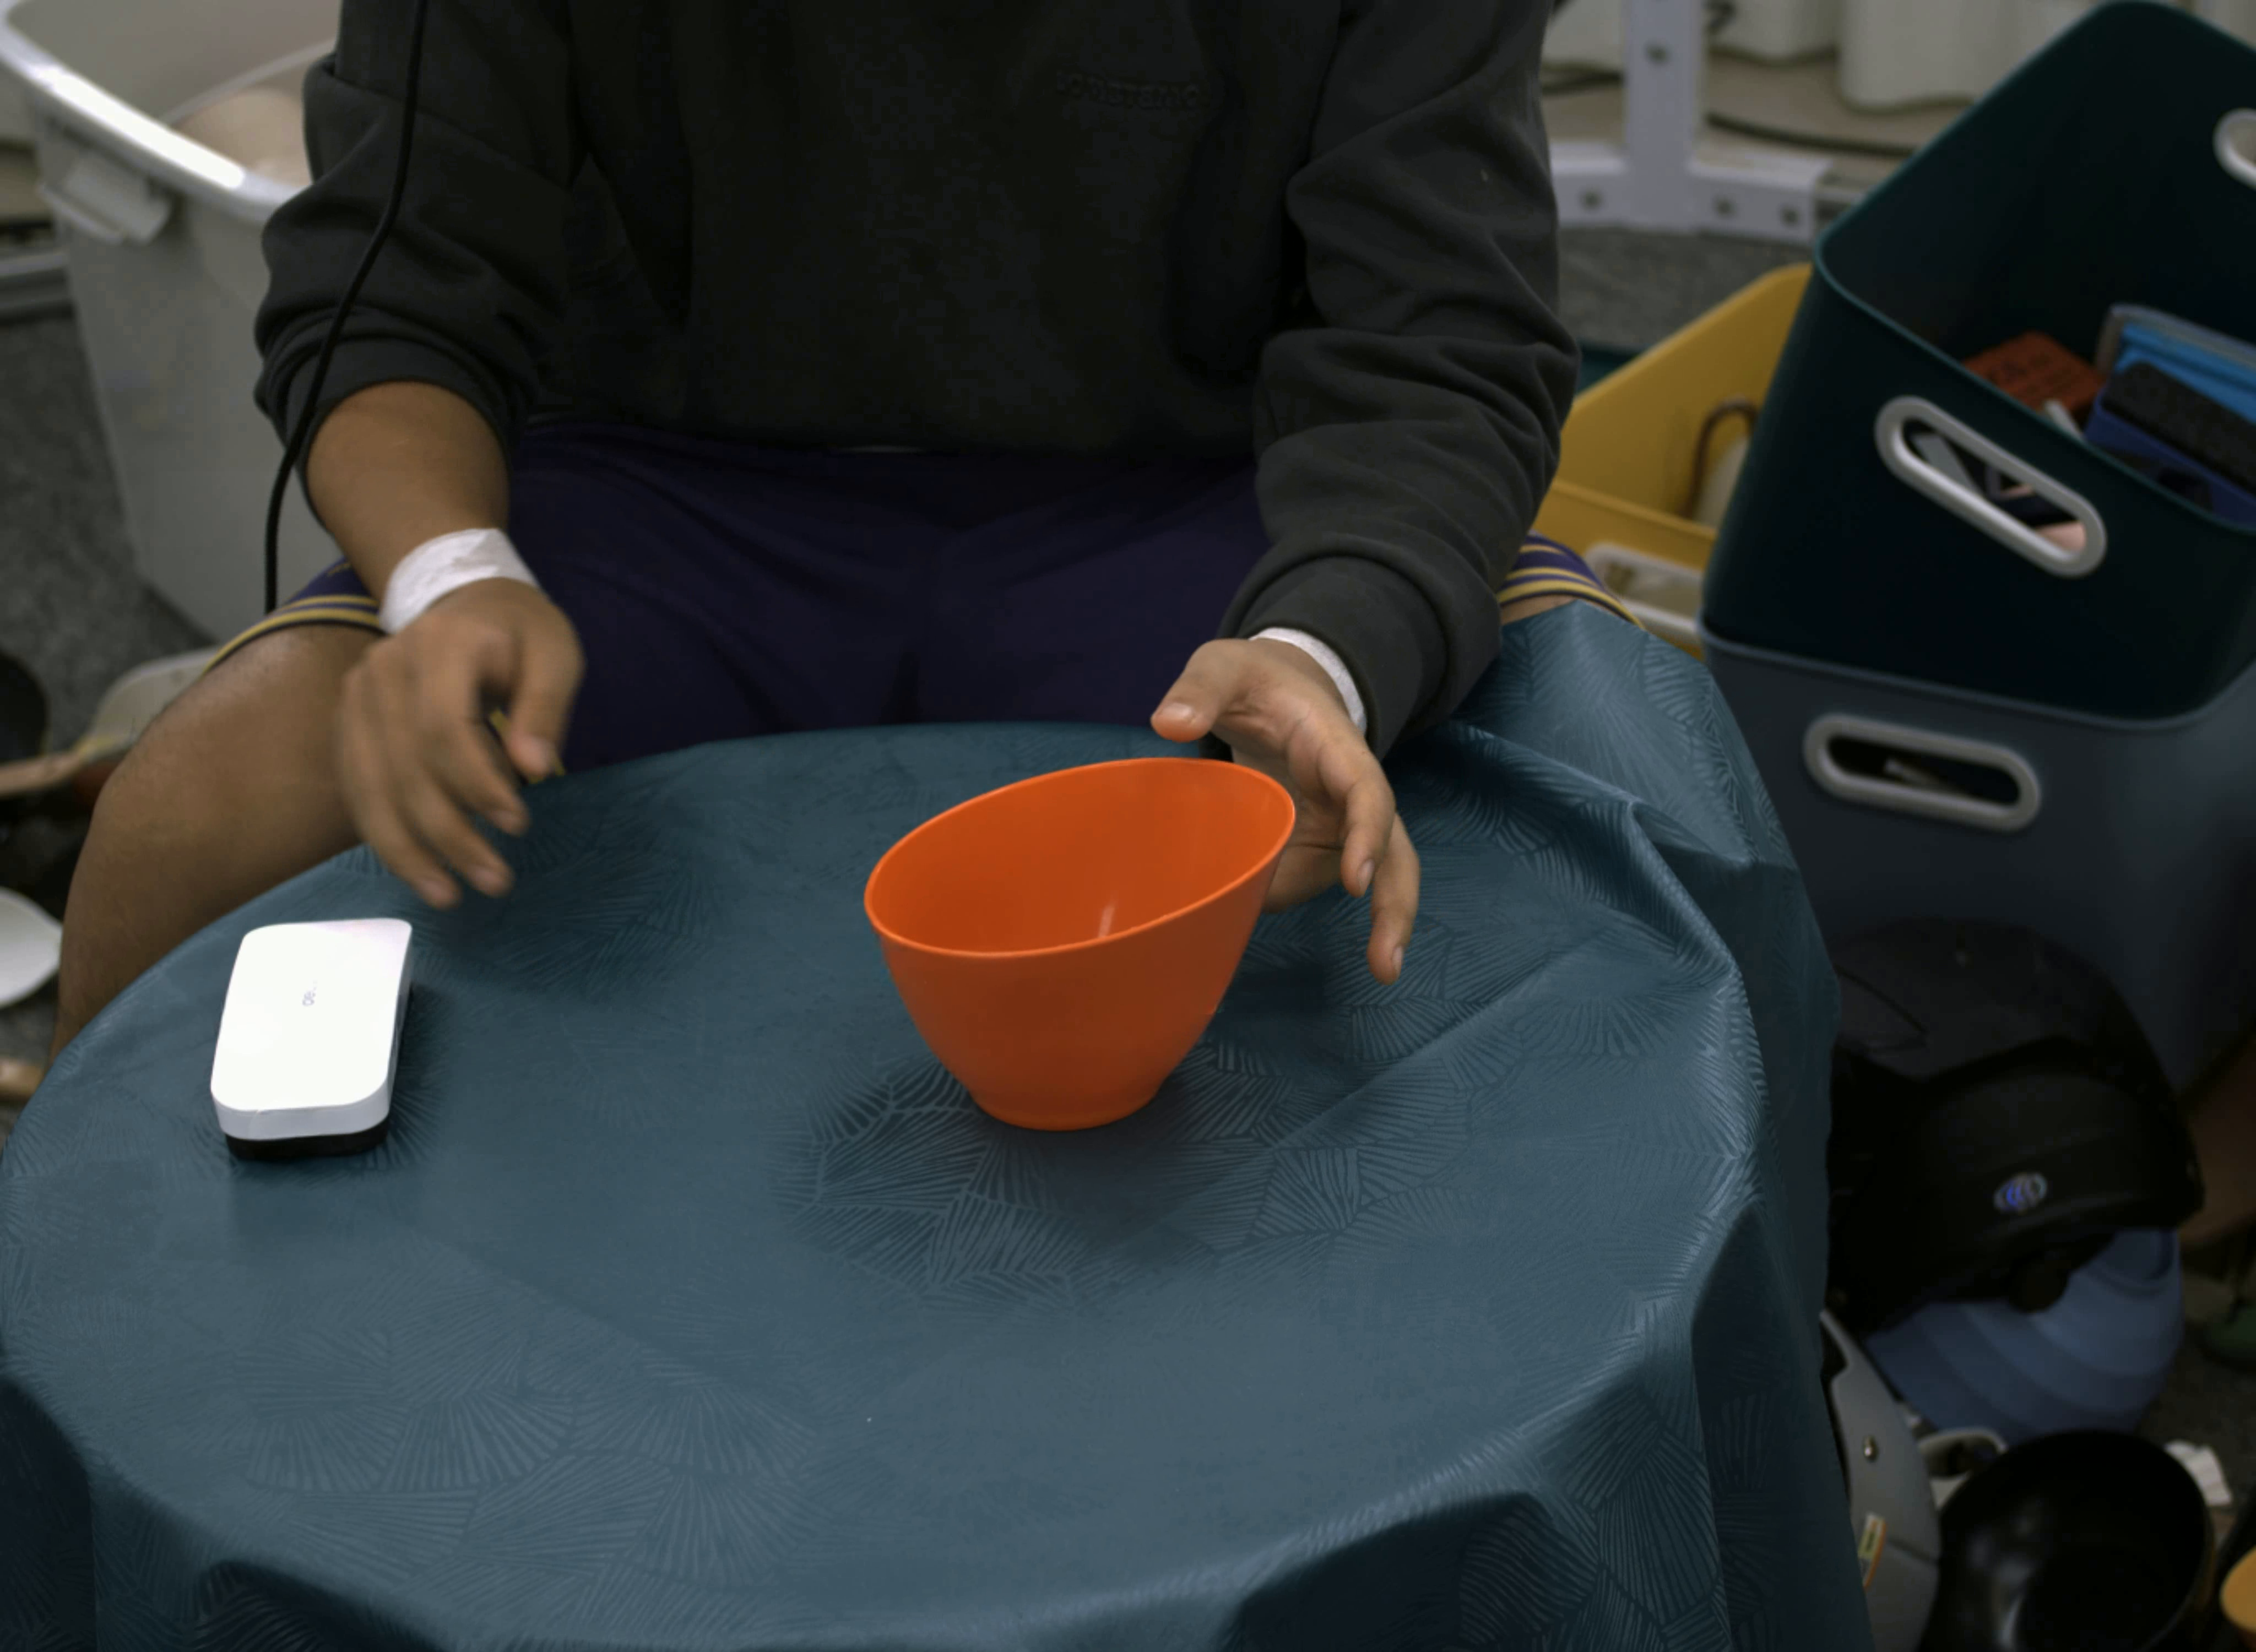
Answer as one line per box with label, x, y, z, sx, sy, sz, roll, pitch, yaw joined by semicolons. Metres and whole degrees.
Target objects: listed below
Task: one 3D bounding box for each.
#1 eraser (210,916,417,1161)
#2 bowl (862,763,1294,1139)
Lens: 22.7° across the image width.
eraser;-0.280;0.071;1.953;0.063;0.034;0.133;-2;29;1
bowl;-0.015;0.047;1.901;0.147;0.103;0.150;-3;26;2
